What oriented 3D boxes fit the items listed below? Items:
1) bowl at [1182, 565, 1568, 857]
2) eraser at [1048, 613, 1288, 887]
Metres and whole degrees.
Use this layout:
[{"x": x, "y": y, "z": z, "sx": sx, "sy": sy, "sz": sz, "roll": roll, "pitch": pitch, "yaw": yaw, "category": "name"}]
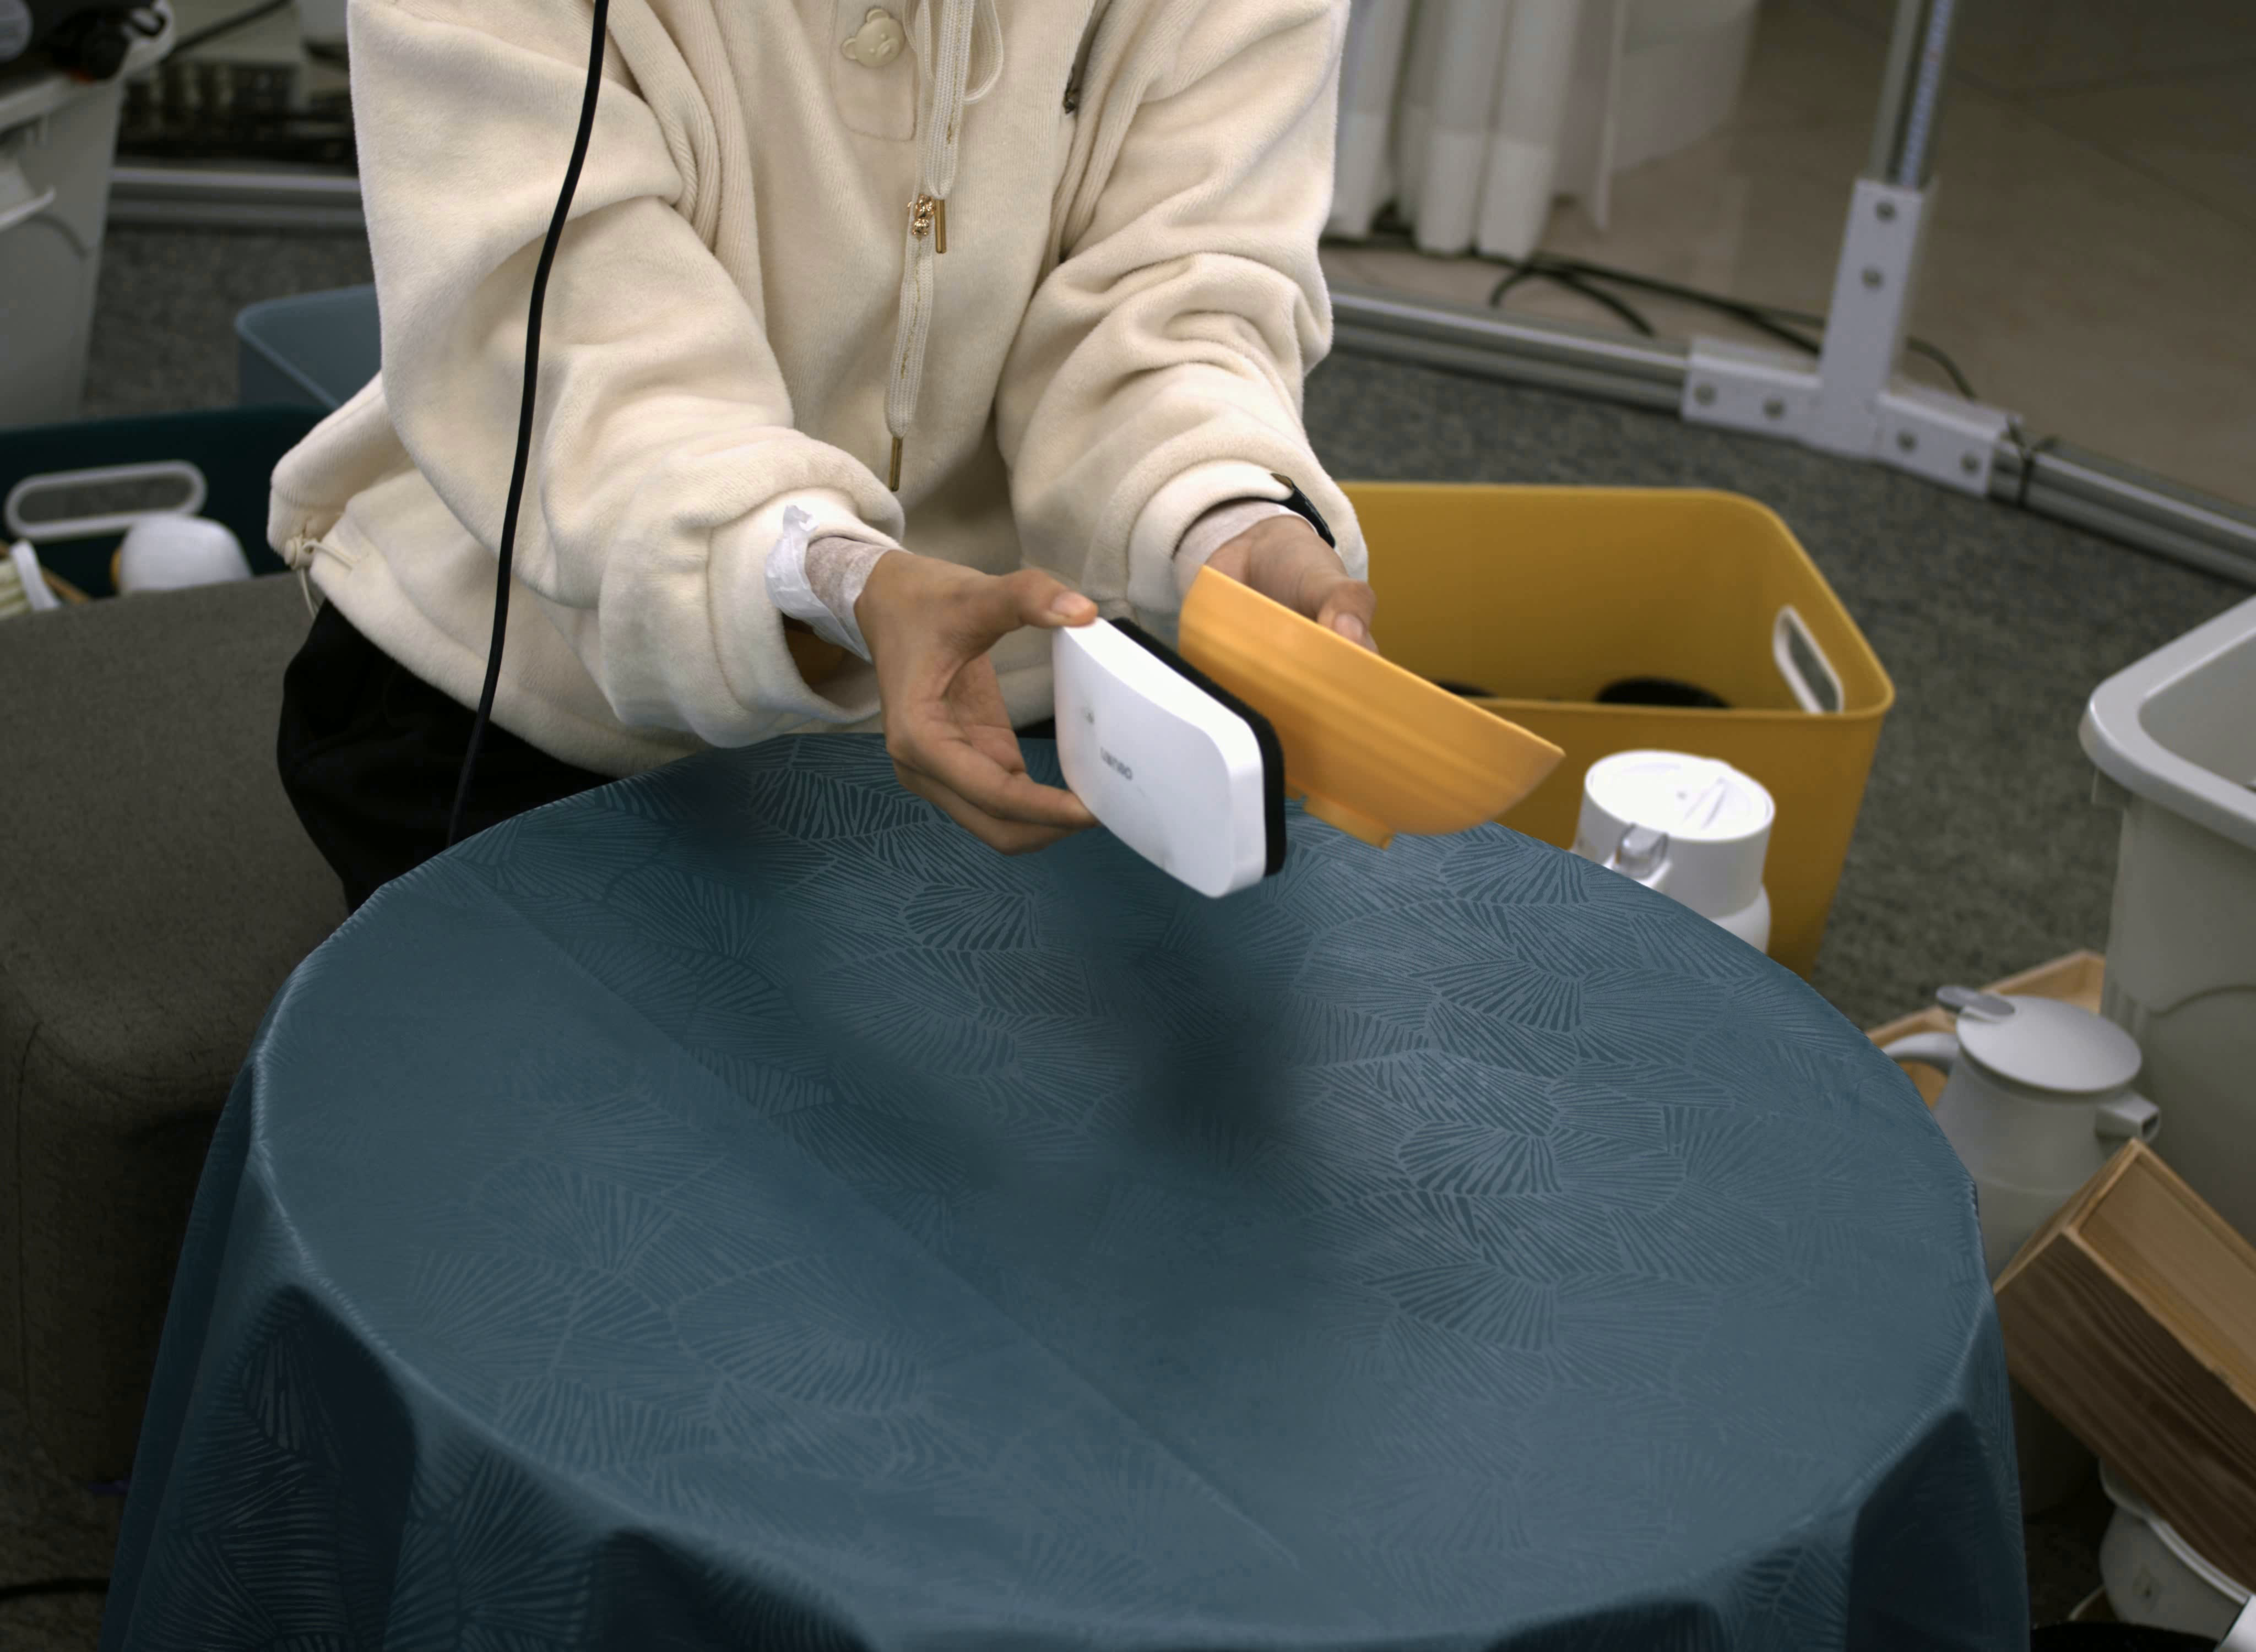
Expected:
[{"x": 0.073, "y": -0.030, "z": 1.813, "sx": 0.145, "sy": 0.060, "sz": 0.145, "roll": 28, "pitch": 5, "yaw": -3, "category": "bowl"}, {"x": 0.009, "y": -0.028, "z": 1.765, "sx": 0.034, "sy": 0.063, "sz": 0.132, "roll": -12, "pitch": 25, "yaw": -25, "category": "eraser"}]
